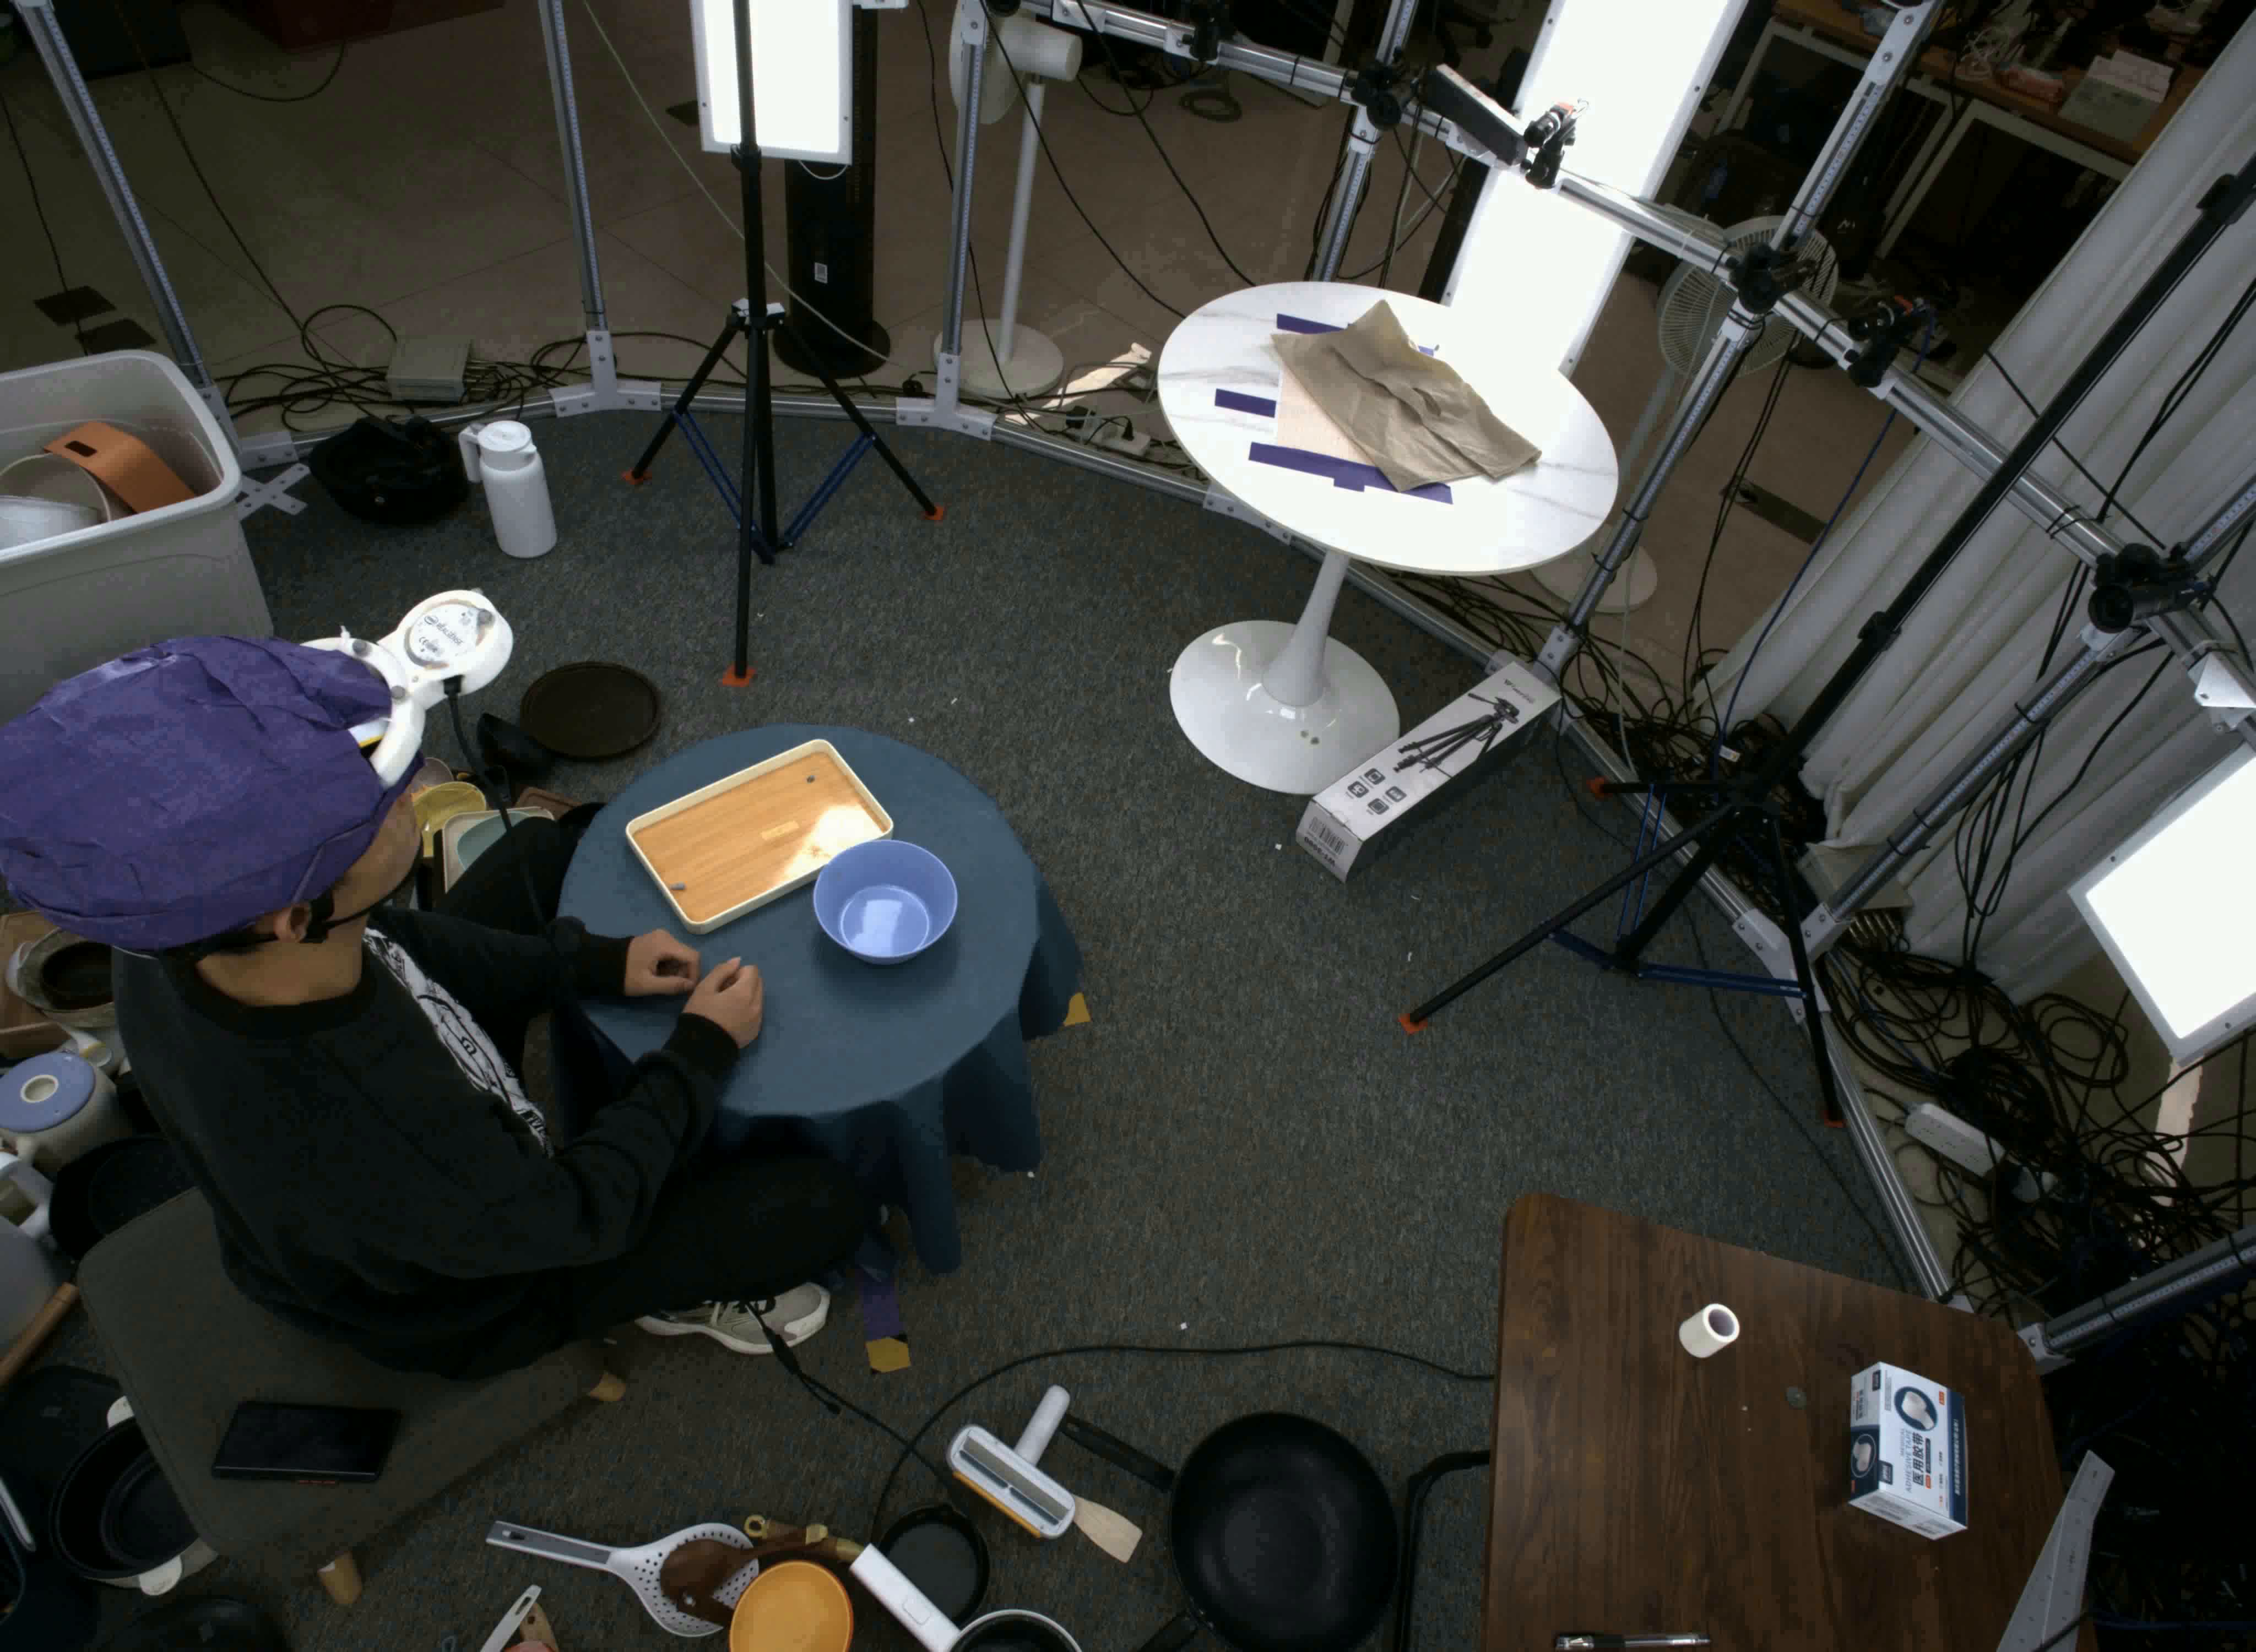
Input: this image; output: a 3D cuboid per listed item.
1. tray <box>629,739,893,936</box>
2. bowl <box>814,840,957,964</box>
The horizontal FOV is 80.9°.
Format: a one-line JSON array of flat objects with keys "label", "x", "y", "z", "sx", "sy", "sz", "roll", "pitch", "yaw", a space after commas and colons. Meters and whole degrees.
[{"label": "tray", "x": -0.478, "y": 0.007, "z": 1.693, "sx": 0.301, "sy": 0.028, "sz": 0.187, "roll": -29, "pitch": 66, "yaw": -31}, {"label": "bowl", "x": -0.304, "y": 0.105, "z": 1.636, "sx": 0.175, "sy": 0.072, "sz": 0.173, "roll": 8, "pitch": 51, "yaw": -8}]
